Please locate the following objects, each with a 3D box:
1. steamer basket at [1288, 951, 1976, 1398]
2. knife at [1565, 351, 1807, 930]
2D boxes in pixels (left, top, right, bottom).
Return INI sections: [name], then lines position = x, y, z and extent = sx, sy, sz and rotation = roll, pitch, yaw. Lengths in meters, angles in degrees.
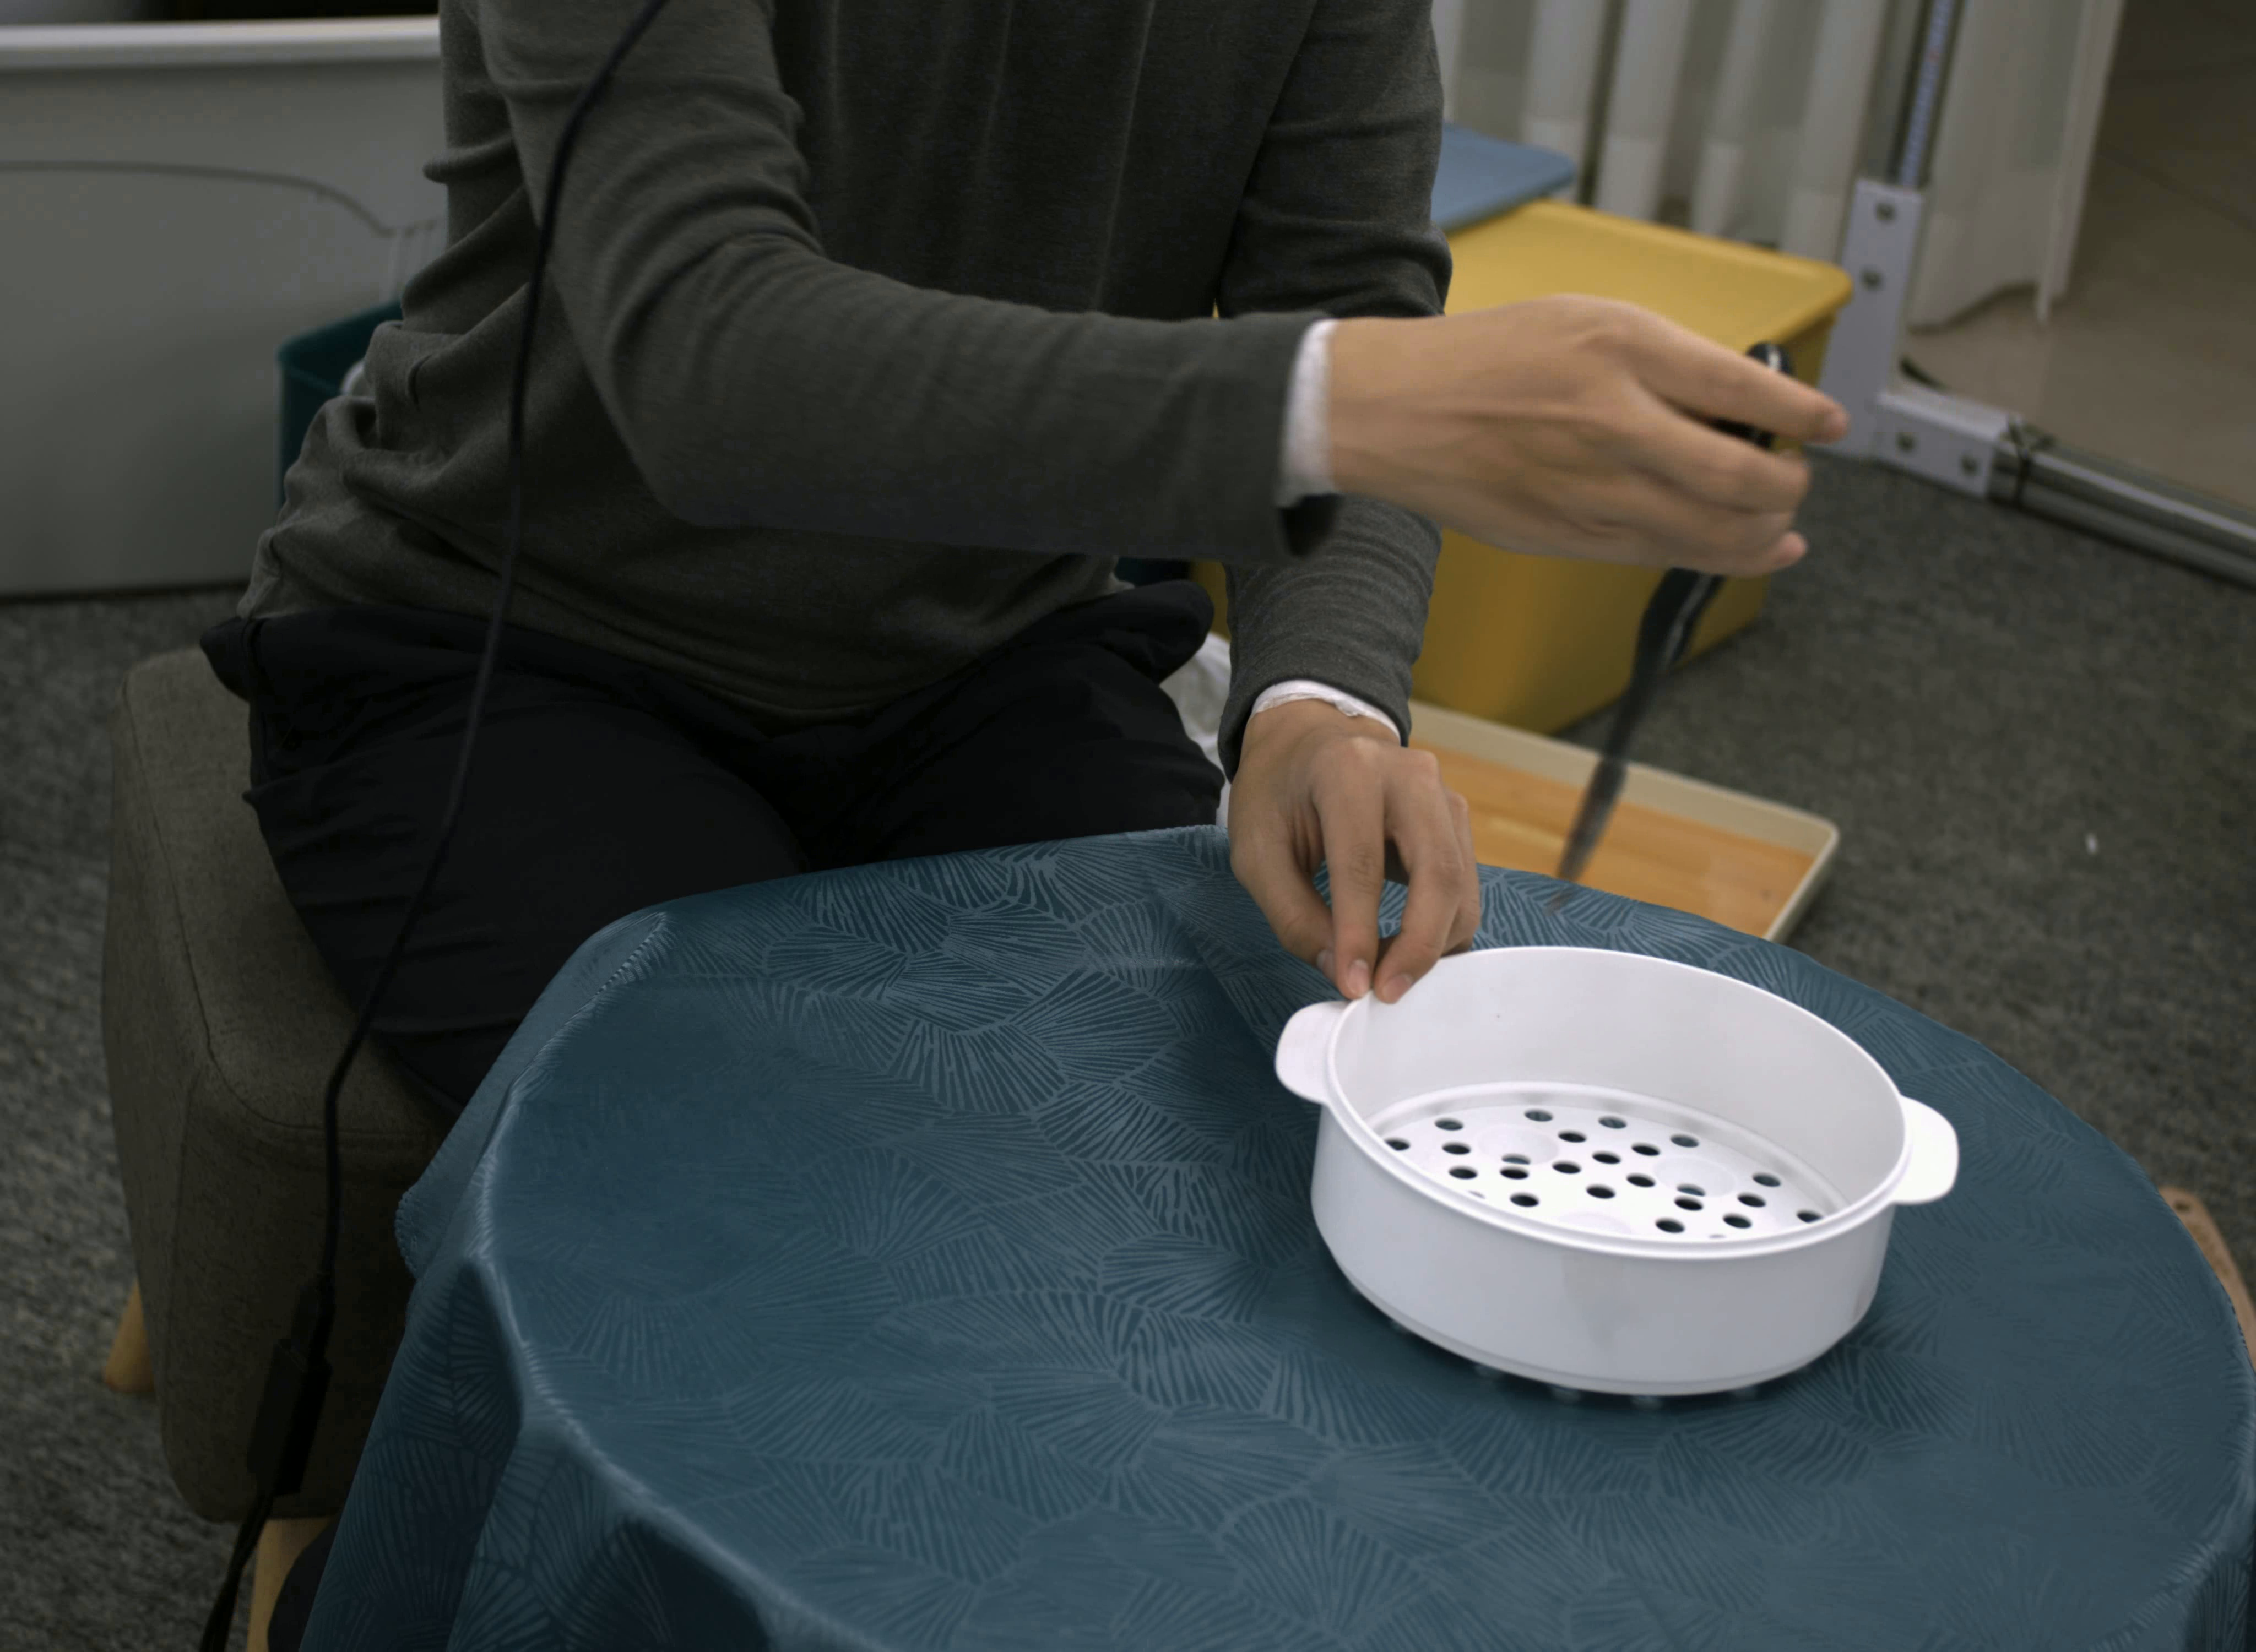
[steamer basket]
position = 0.165, 0.116, 1.782
extent = 0.230, 0.069, 0.202
rotation = 9, 26, 7
[knife]
position = 0.171, -0.056, 1.689
extent = 0.016, 0.237, 0.025
rotation = -7, 45, -27
